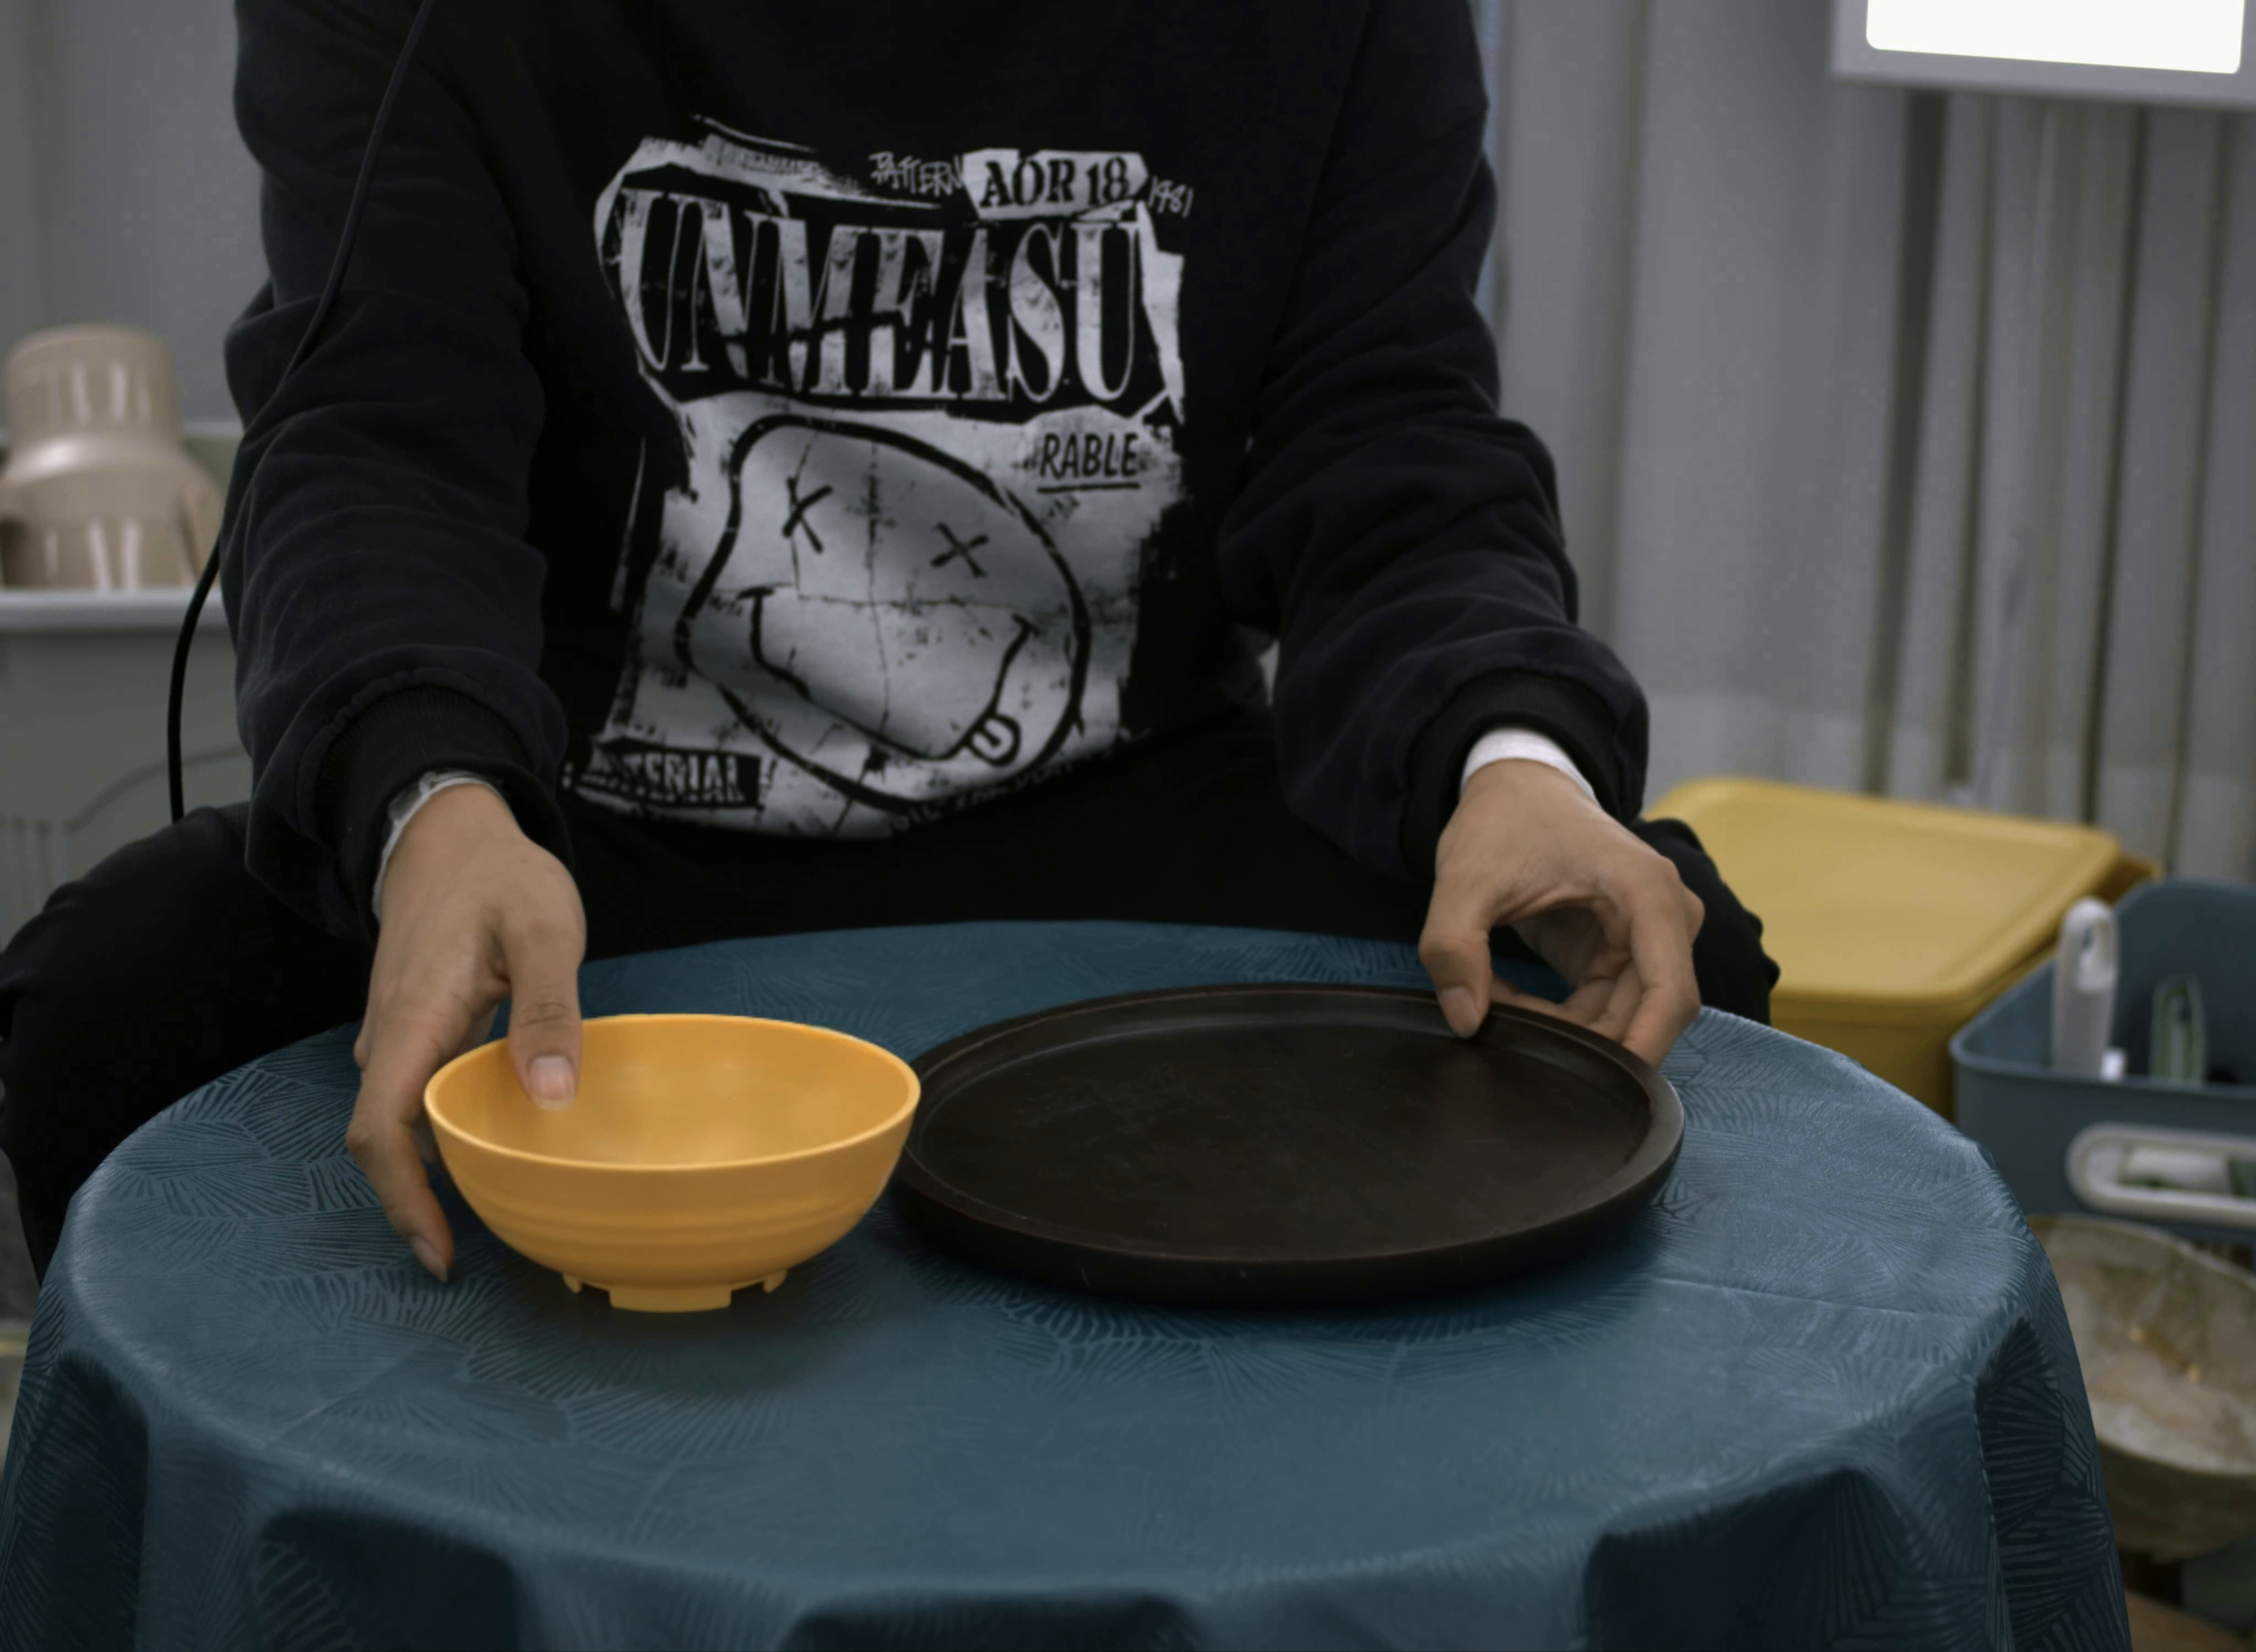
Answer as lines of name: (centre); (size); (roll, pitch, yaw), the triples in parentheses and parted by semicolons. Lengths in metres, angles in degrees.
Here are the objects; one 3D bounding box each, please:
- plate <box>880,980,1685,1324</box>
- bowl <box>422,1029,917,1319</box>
plate: (0.046, 0.098, 1.630); (0.254, 0.029, 0.253); (-2, 17, 1)
bowl: (-0.134, 0.106, 1.542); (0.145, 0.060, 0.144); (2, 14, 0)
